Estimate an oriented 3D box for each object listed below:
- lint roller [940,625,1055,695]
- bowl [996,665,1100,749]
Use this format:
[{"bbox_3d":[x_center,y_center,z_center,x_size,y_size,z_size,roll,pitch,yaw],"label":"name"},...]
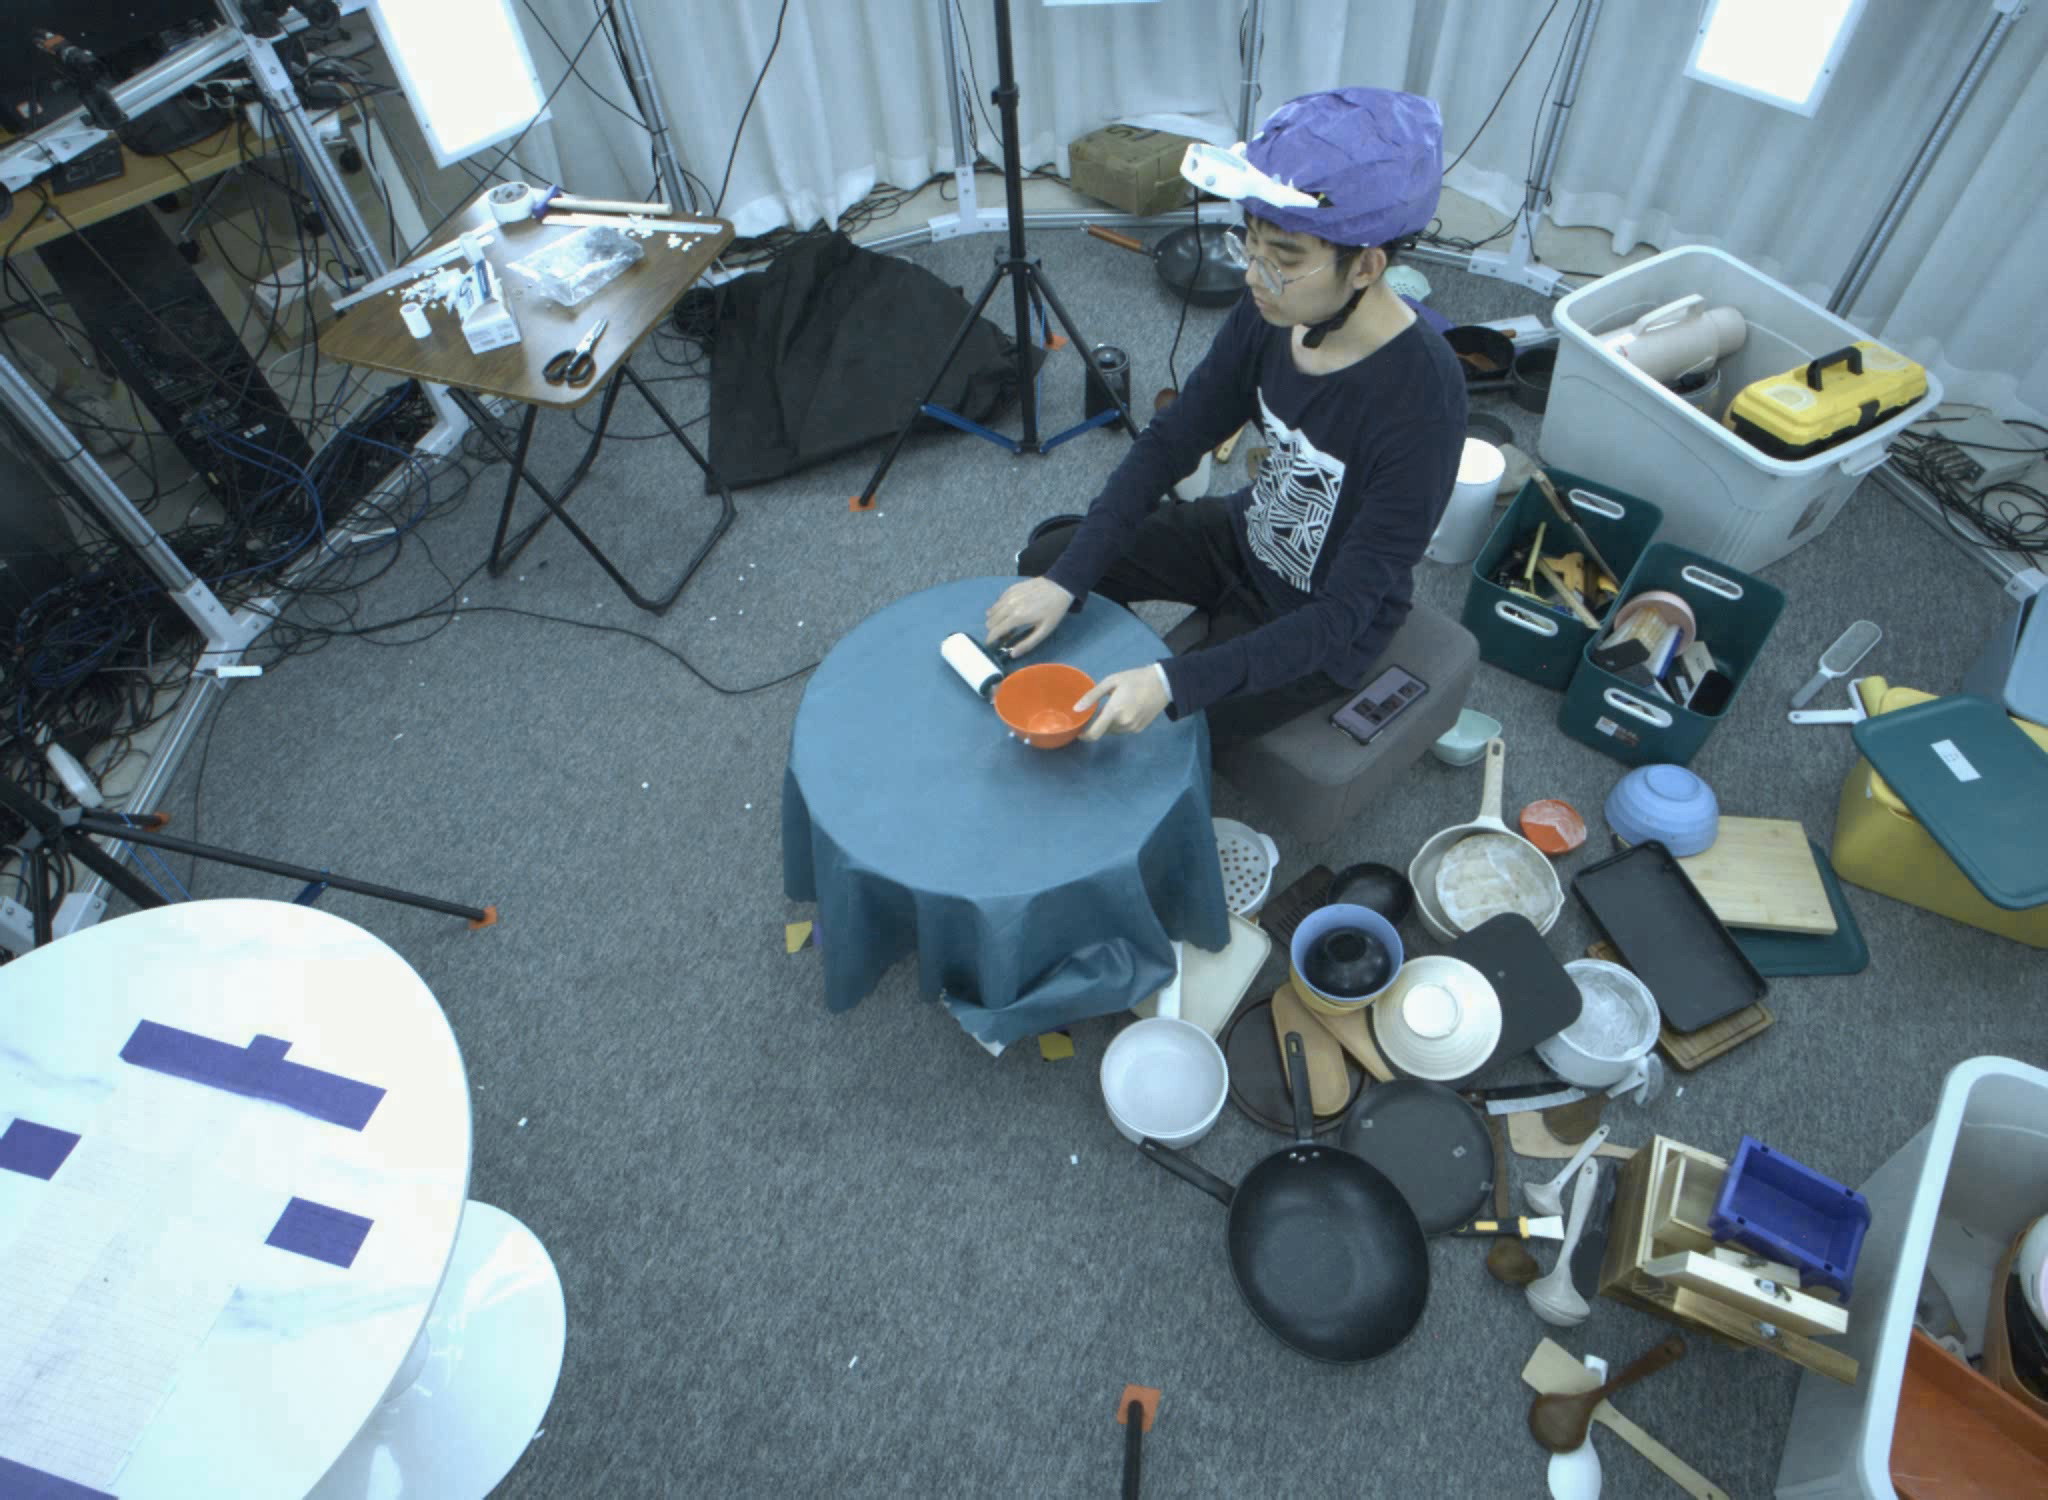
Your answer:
[{"bbox_3d":[-0.026,-0.162,1.887,0.182,0.049,0.132,-31,59,-23],"label":"lint roller"},{"bbox_3d":[0.035,-0.048,1.772,0.148,0.105,0.146,1,53,0],"label":"bowl"}]
